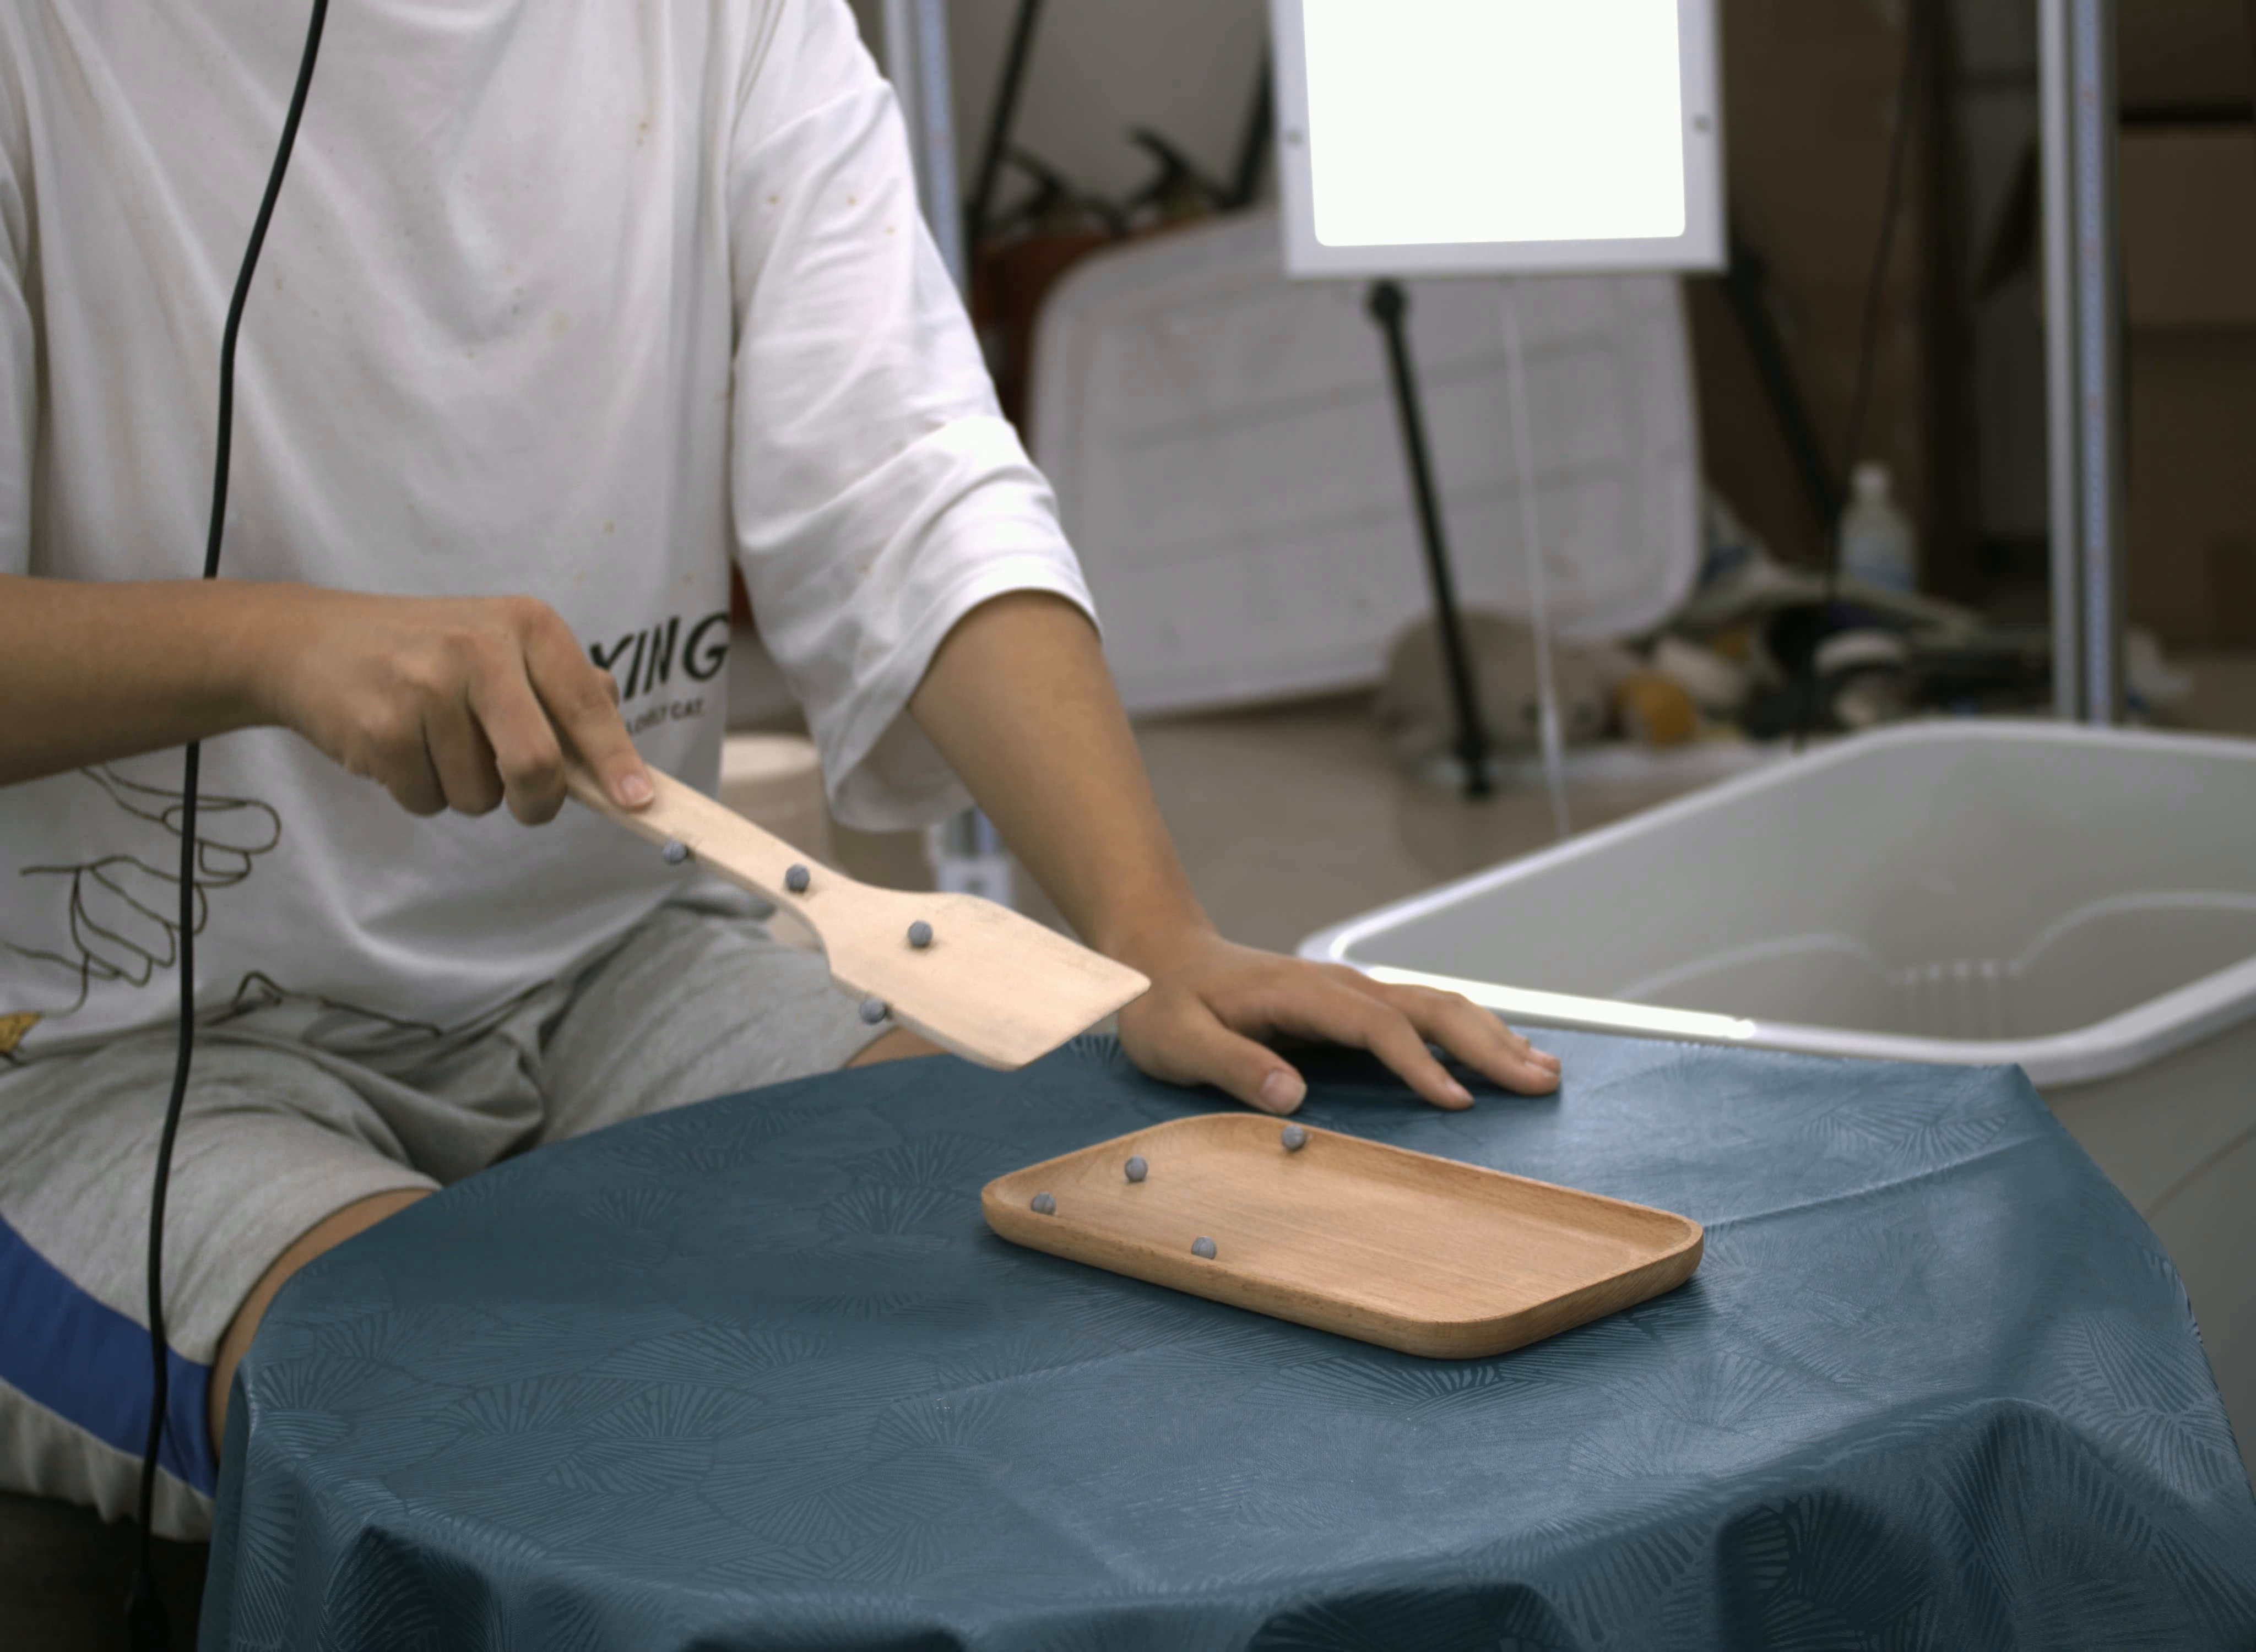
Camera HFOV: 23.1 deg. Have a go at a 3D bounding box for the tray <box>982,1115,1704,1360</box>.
[{"bbox_3d":[0.068,0.133,1.811,0.127,0.023,0.256,-18,19,-35],"label":"tray"}]

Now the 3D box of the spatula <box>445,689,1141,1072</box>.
[{"bbox_3d":[-0.125,0.013,1.857,0.298,0.011,0.070,27,41,34],"label":"spatula"}]
